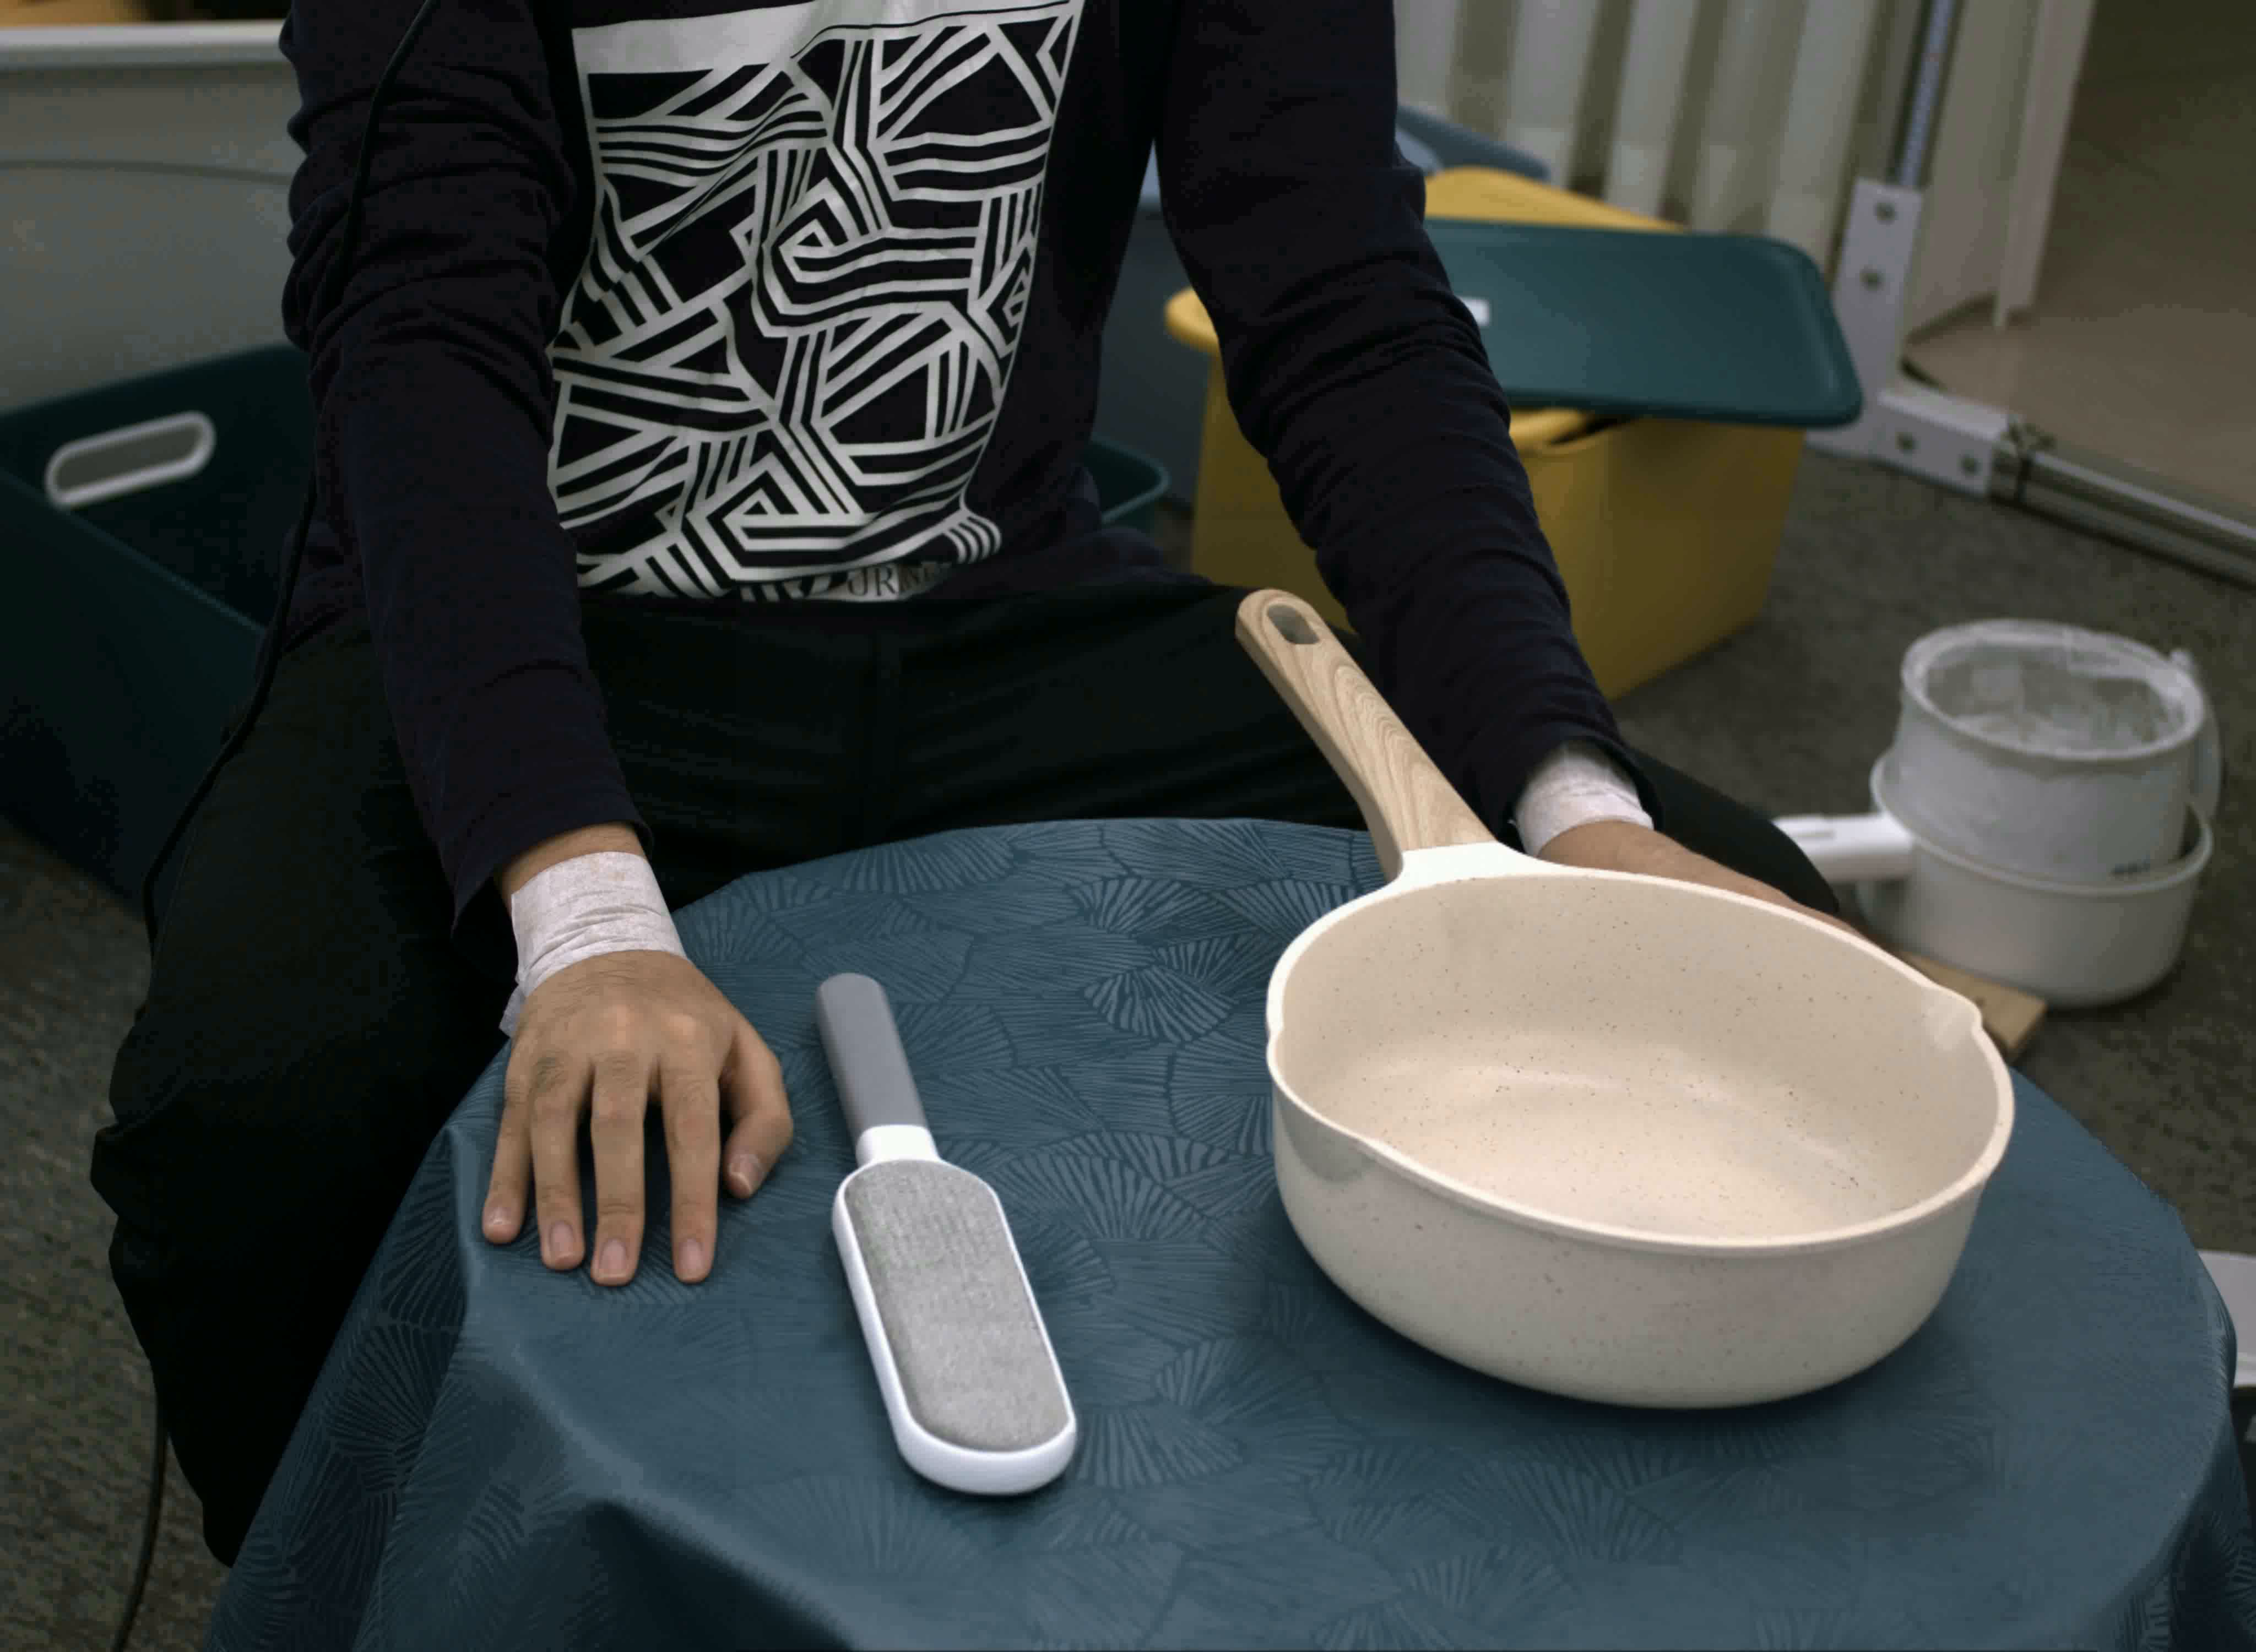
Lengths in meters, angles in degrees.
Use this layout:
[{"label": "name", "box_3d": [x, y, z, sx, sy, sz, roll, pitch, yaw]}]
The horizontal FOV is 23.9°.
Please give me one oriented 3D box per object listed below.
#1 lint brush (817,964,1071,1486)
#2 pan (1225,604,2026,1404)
[{"label": "lint brush", "box_3d": [-0.068, 0.126, 1.755, 0.060, 0.021, 0.311, -4, 28, -10]}, {"label": "pan", "box_3d": [0.134, 0.058, 1.857, 0.262, 0.101, 0.439, -8, 30, -22]}]
